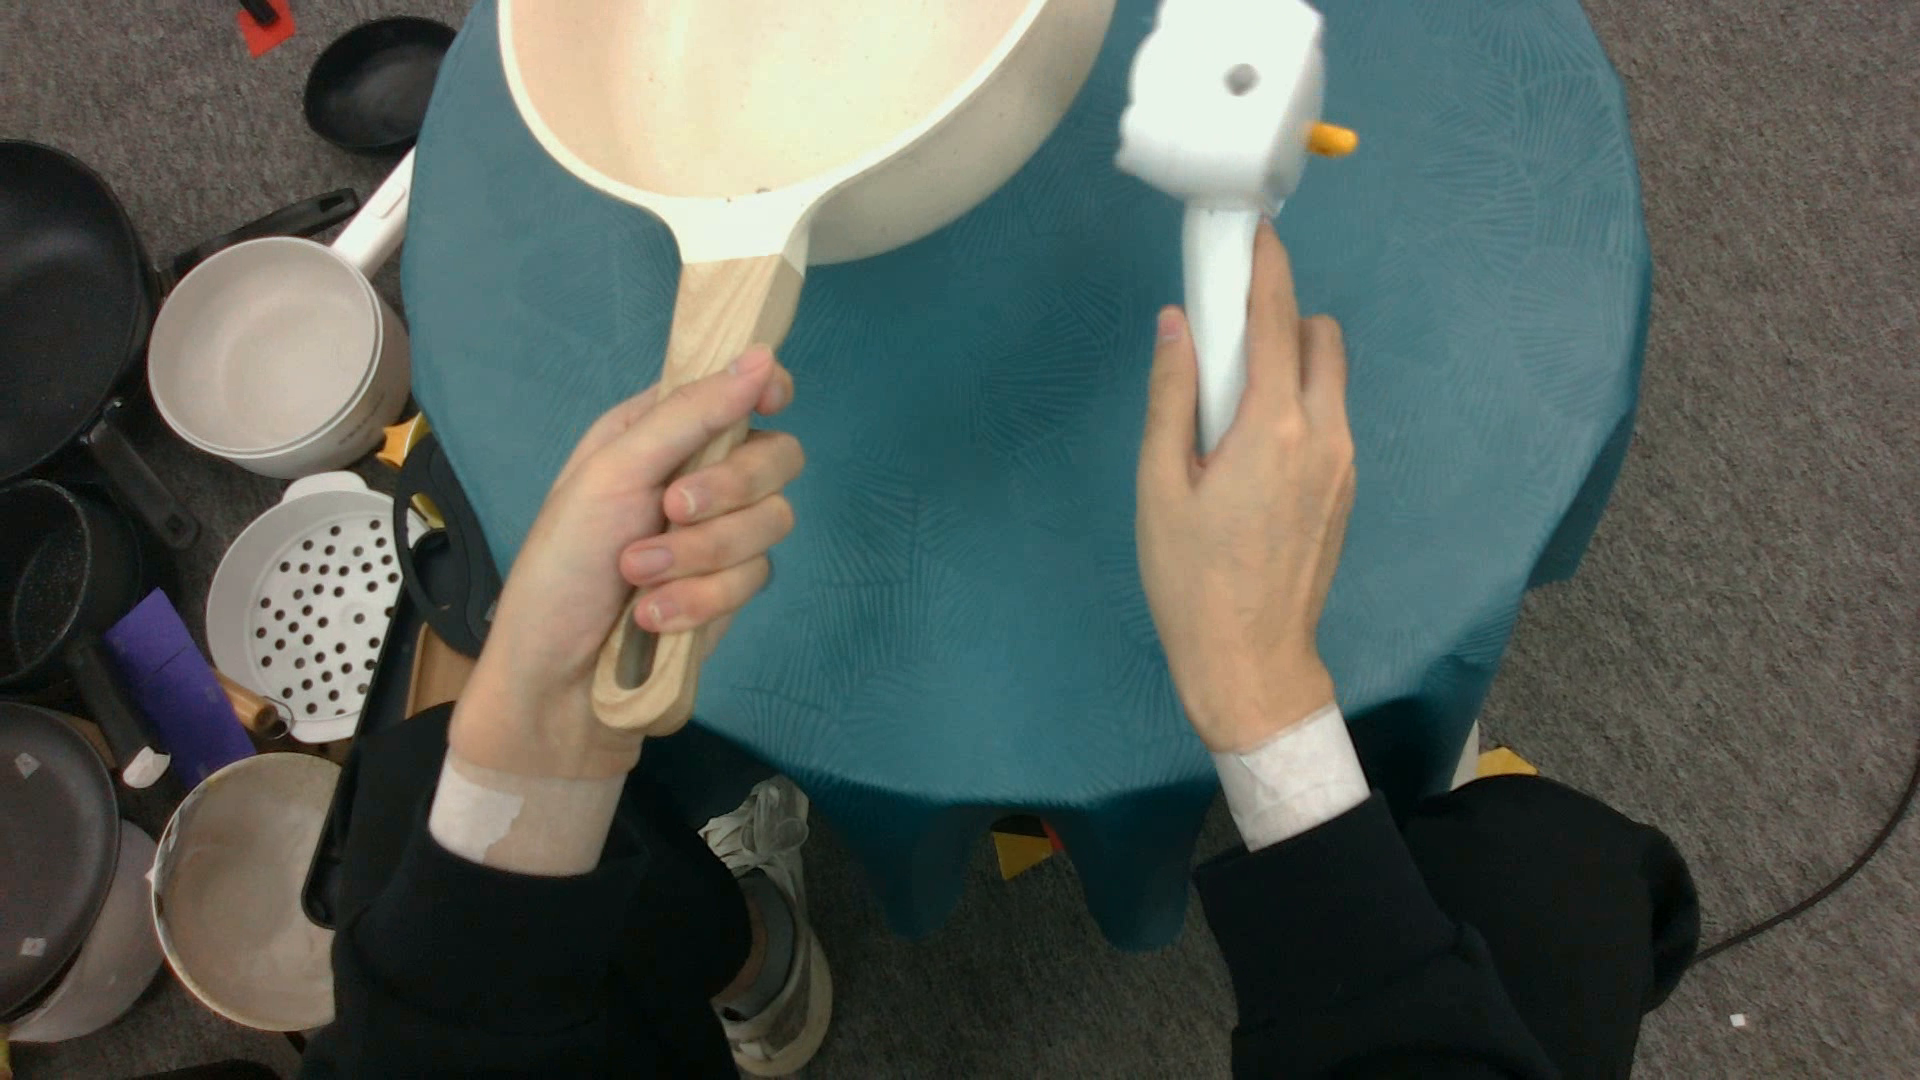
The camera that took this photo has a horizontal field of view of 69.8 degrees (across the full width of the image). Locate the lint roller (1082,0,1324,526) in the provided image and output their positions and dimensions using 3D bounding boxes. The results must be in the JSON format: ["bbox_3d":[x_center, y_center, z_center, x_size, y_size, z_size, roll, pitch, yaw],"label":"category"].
[{"bbox_3d":[0.087,-0.101,0.506,0.074,0.193,0.192,9,106,11],"label":"lint roller"}]

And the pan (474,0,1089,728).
[{"bbox_3d":[-0.071,-0.141,0.516,0.263,0.102,0.436,-2,73,19],"label":"pan"}]
